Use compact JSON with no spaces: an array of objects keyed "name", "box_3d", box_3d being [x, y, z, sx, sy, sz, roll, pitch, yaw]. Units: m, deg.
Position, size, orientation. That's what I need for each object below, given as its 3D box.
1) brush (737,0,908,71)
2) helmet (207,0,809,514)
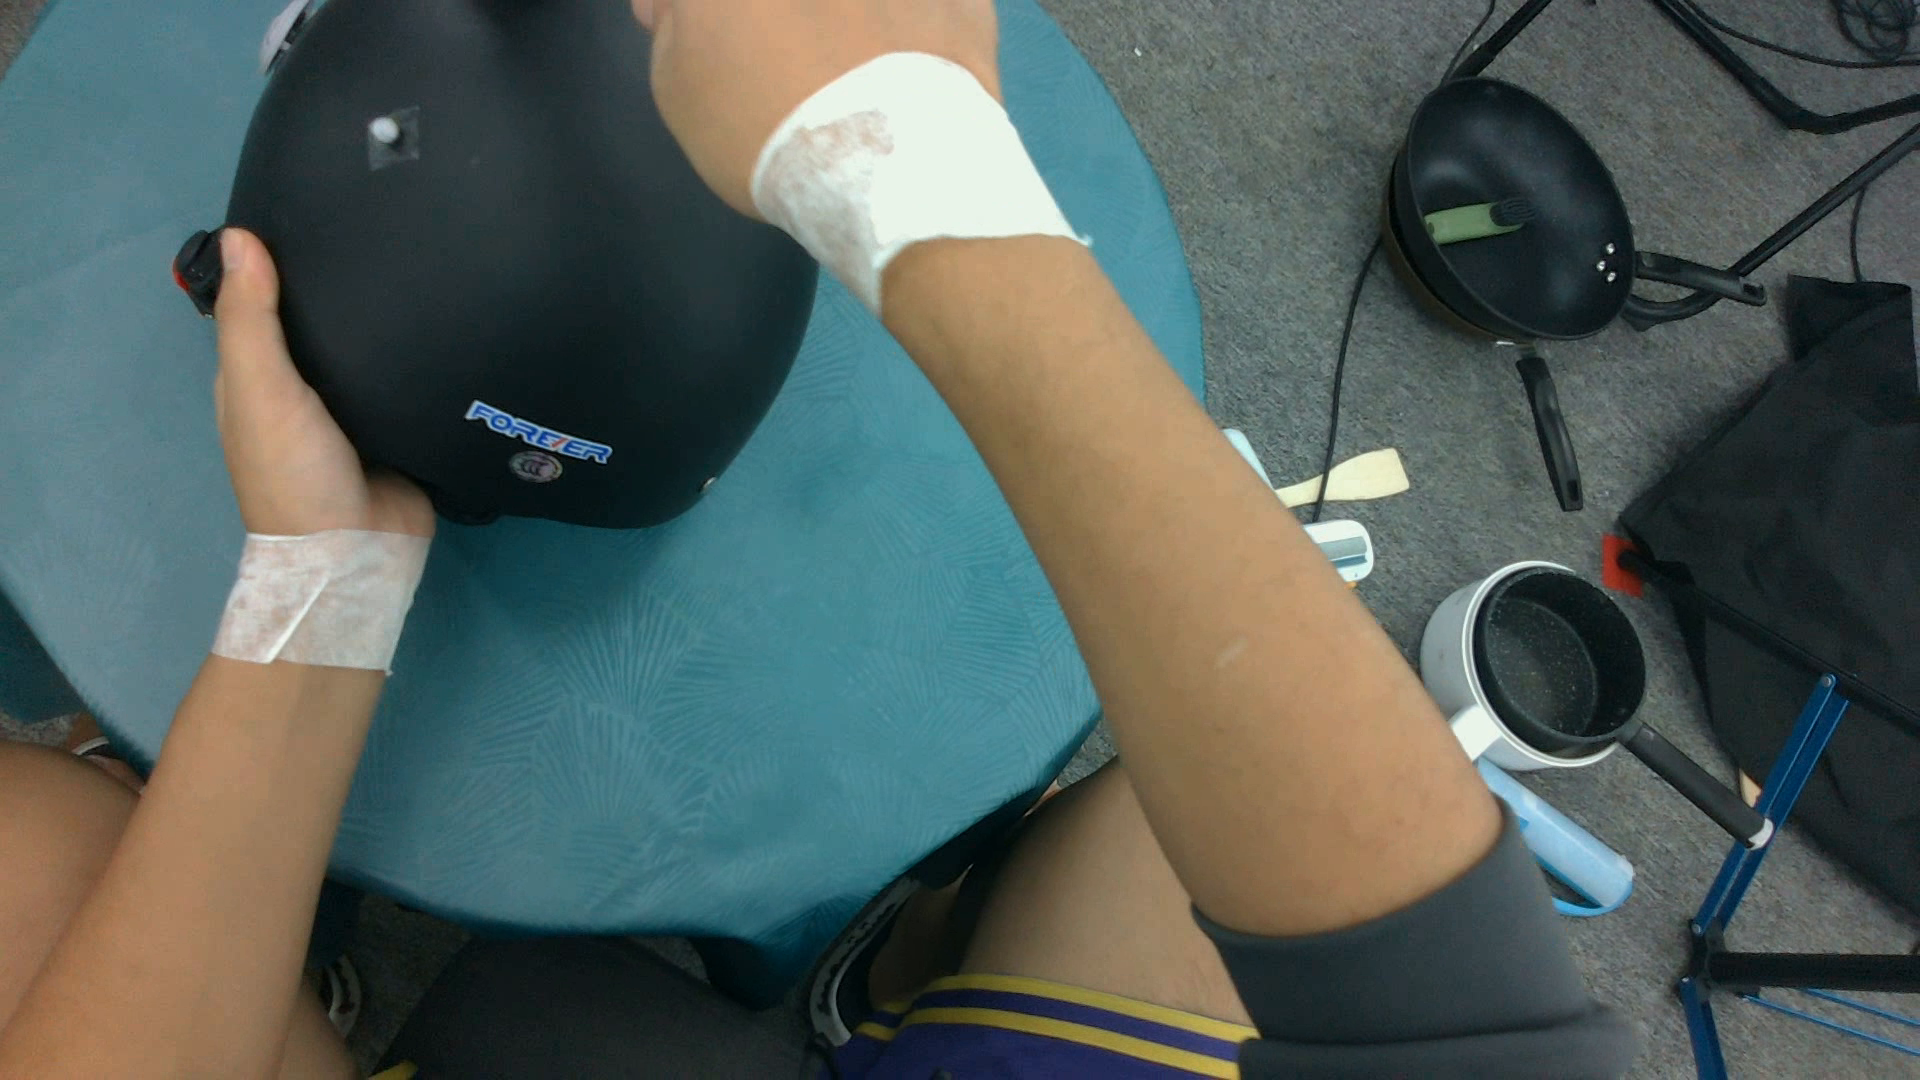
[{"name":"brush","box_3d":[-0.105,-0.179,0.424,0.244,0.050,0.034,38,51,26]},{"name":"helmet","box_3d":[-0.159,-0.153,0.553,0.230,0.166,0.274,24,48,-32]}]
